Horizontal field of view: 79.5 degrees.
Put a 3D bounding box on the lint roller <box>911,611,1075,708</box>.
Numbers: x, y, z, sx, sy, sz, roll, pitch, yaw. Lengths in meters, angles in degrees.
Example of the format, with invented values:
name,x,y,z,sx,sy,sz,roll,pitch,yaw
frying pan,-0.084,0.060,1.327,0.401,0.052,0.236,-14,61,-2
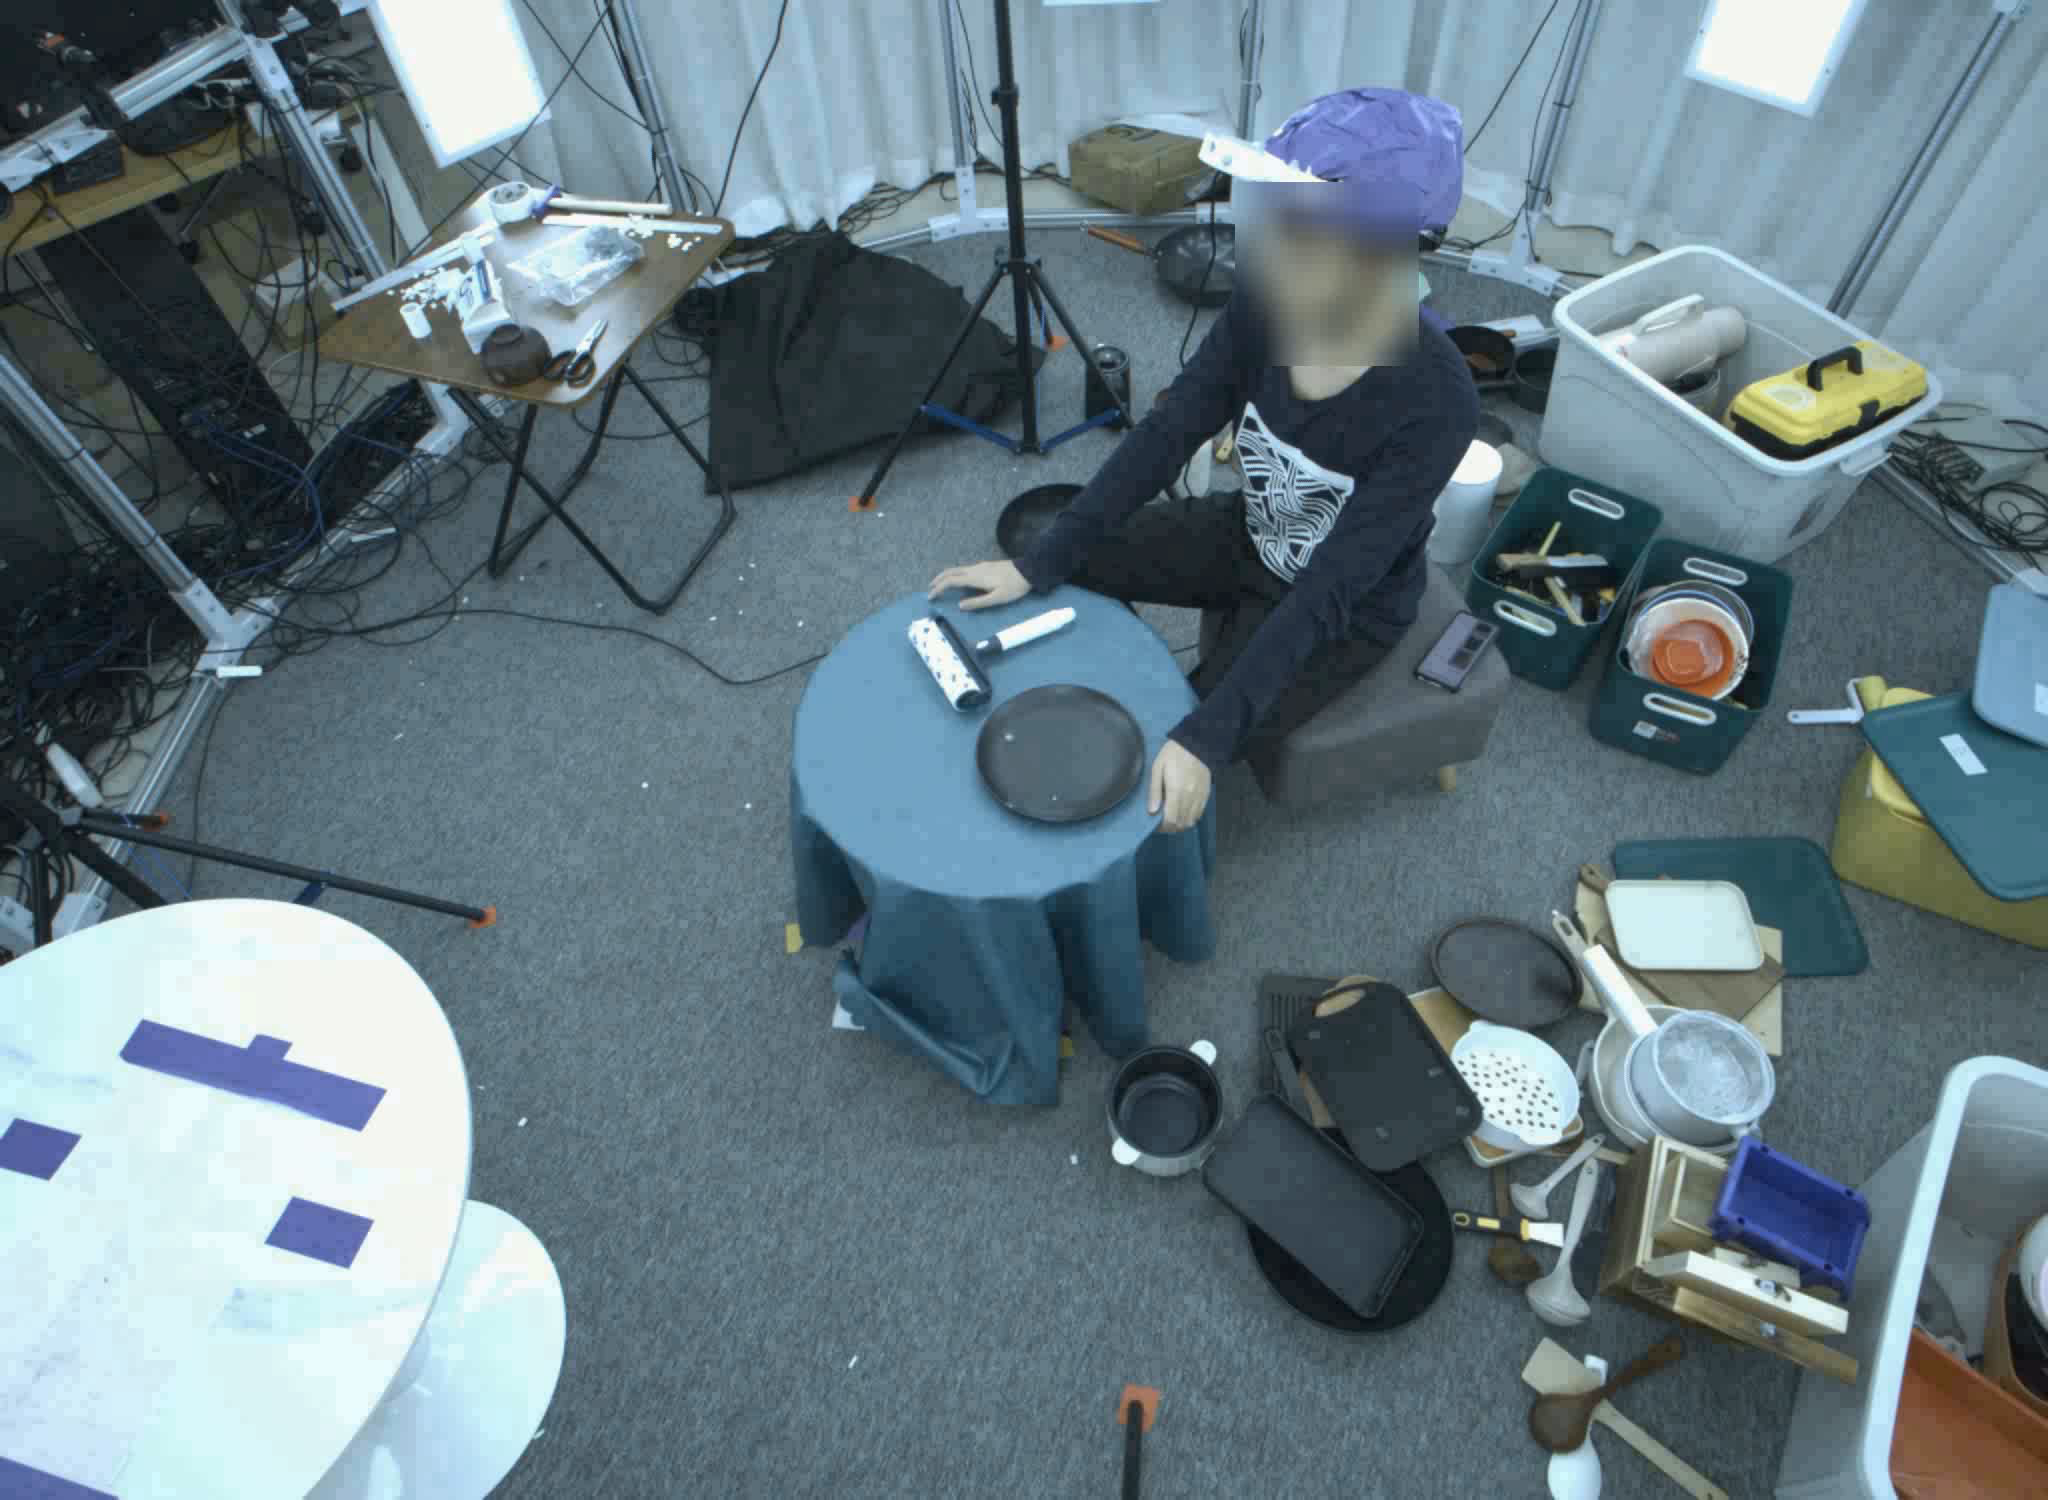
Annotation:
name,x,y,z,sx,sy,sz,roll,pitch,yaw
lint roller,-0.032,-0.172,1.893,0.249,0.051,0.173,-24,56,-18

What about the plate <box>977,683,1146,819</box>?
name,x,y,z,sx,sy,sz,roll,pitch,yaw
plate,0.054,0.003,1.778,0.244,0.023,0.242,0,54,1
